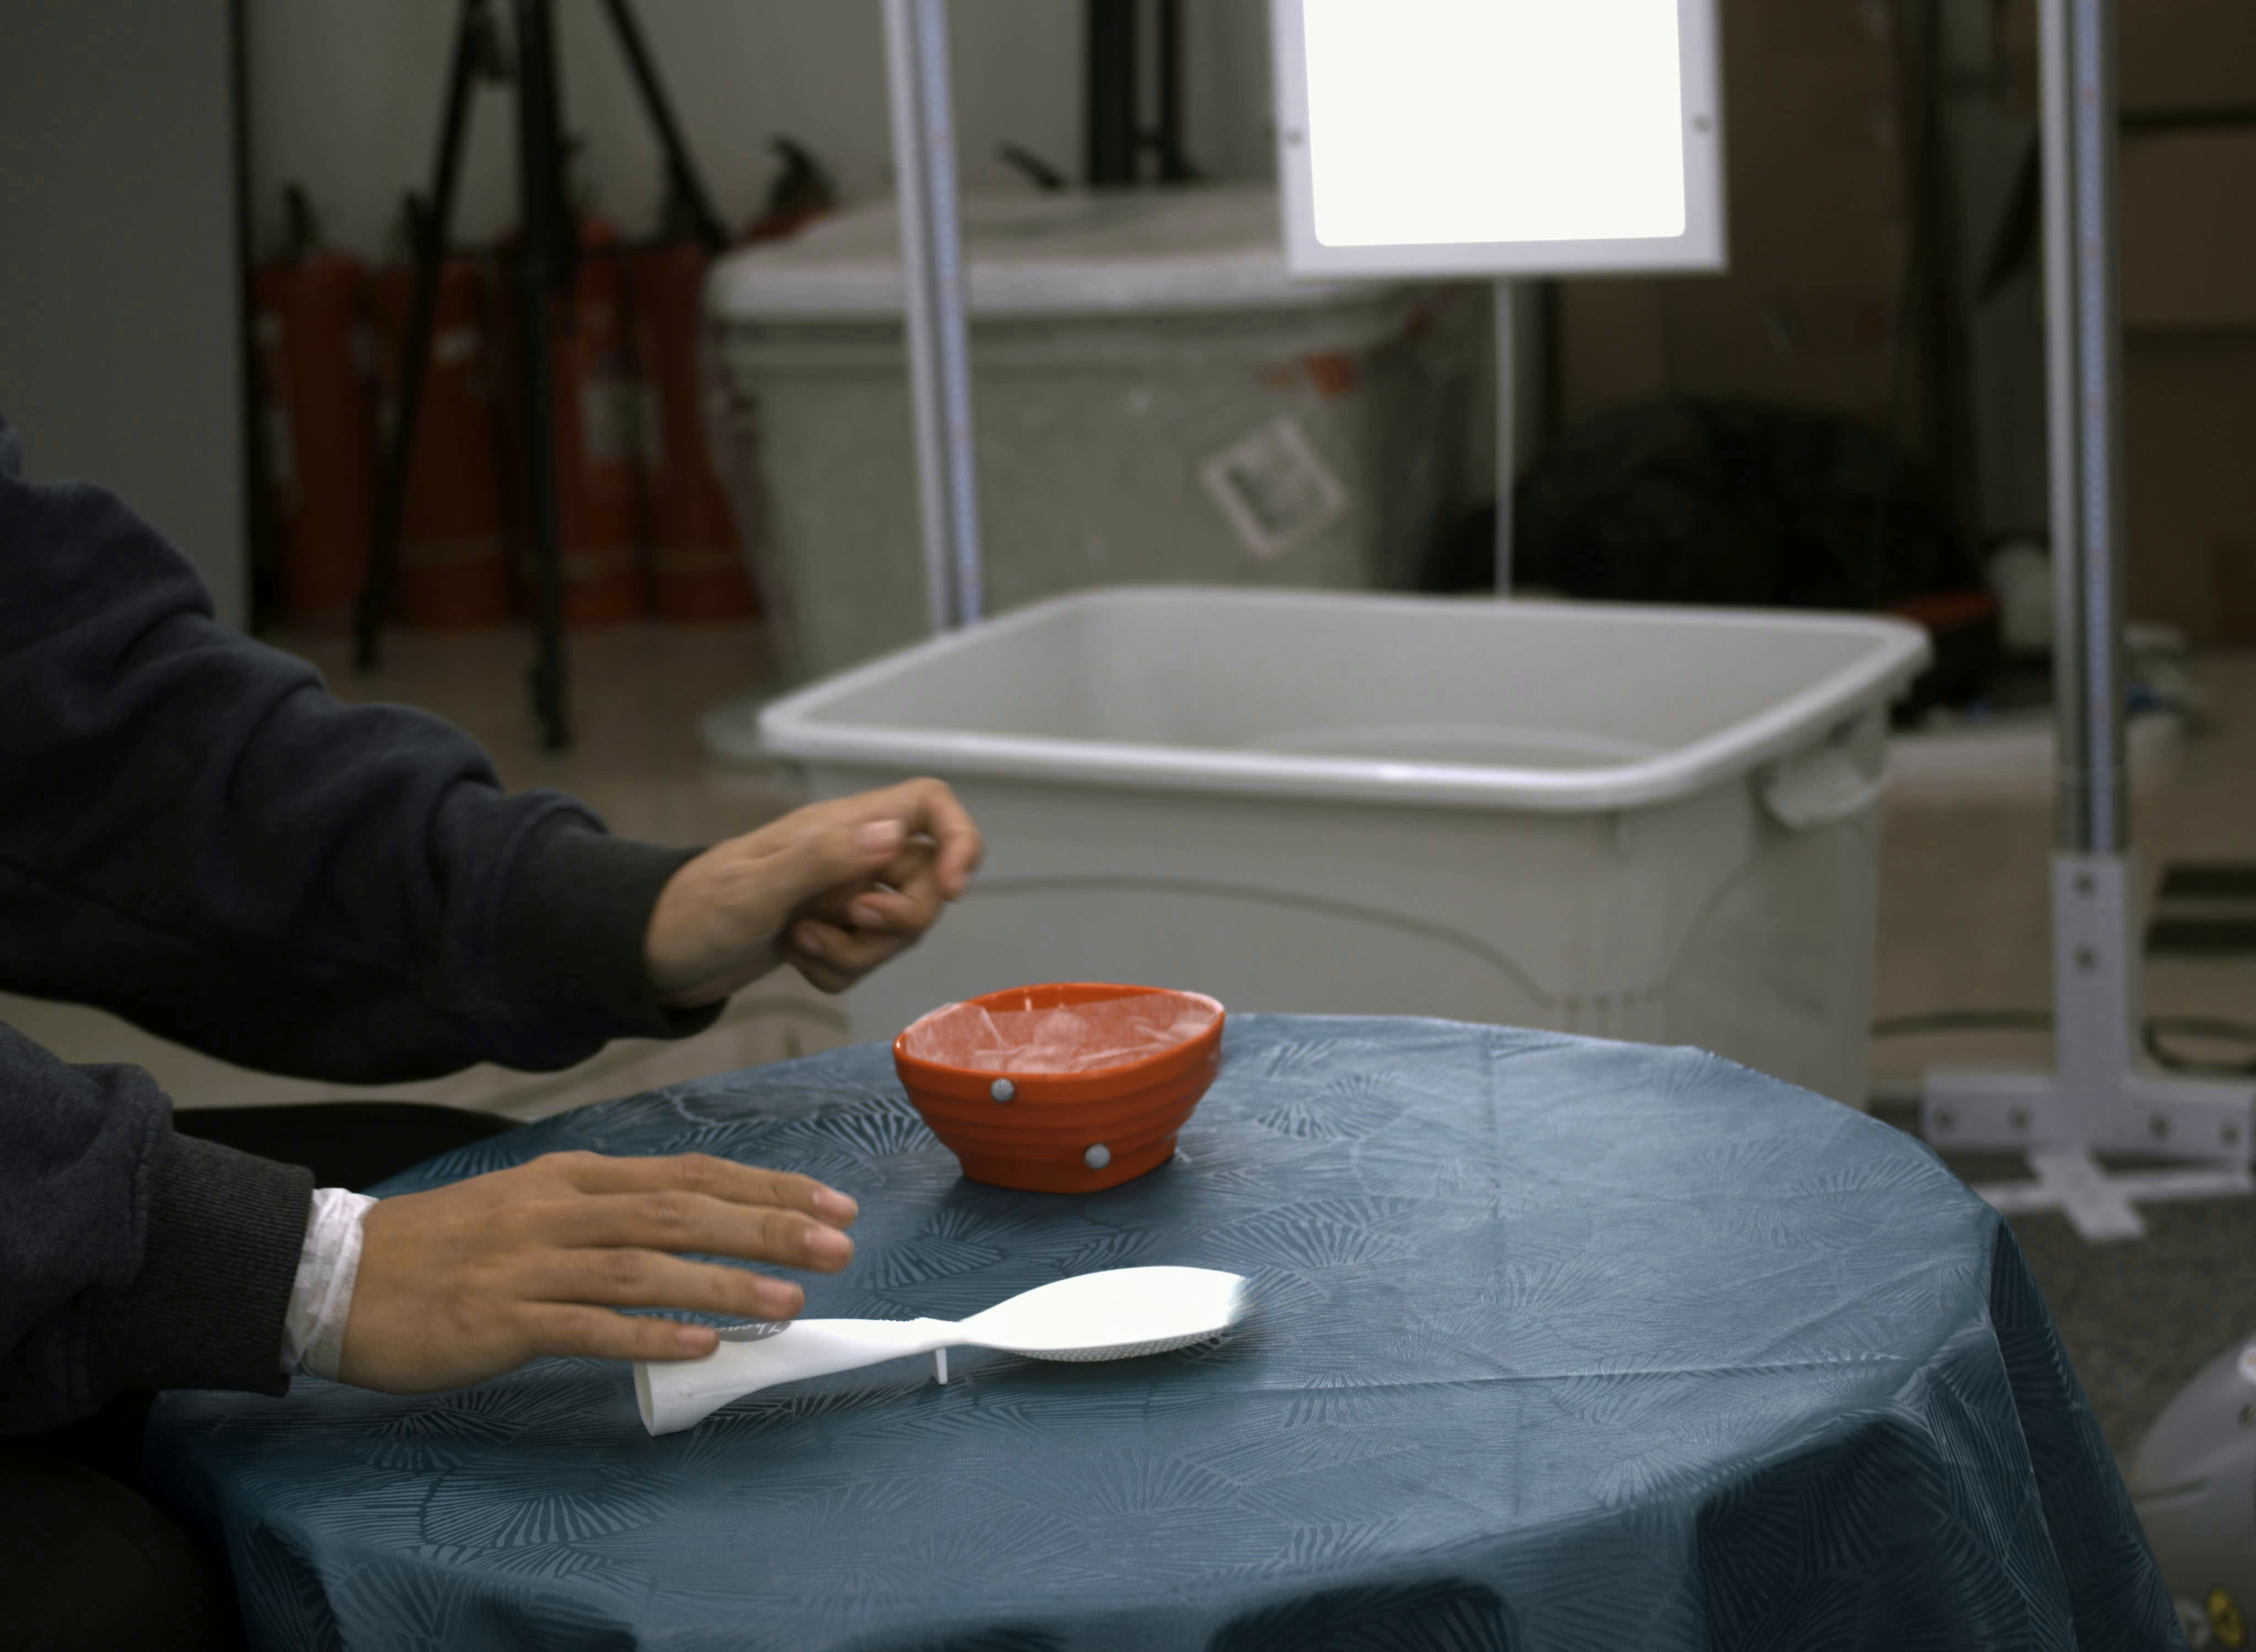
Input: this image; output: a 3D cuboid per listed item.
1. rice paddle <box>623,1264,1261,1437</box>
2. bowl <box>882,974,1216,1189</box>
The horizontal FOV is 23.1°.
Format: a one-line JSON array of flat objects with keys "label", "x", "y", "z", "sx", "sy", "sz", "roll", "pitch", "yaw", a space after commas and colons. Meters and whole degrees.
[{"label": "rice paddle", "x": -0.056, "y": 0.158, "z": 1.724, "sx": 0.202, "sy": 0.029, "sz": 0.069, "roll": -8, "pitch": 16, "yaw": -13}, {"label": "bowl", "x": -0.025, "y": 0.092, "z": 1.927, "sx": 0.118, "sy": 0.051, "sz": 0.119, "roll": -6, "pitch": 15, "yaw": 0}]
